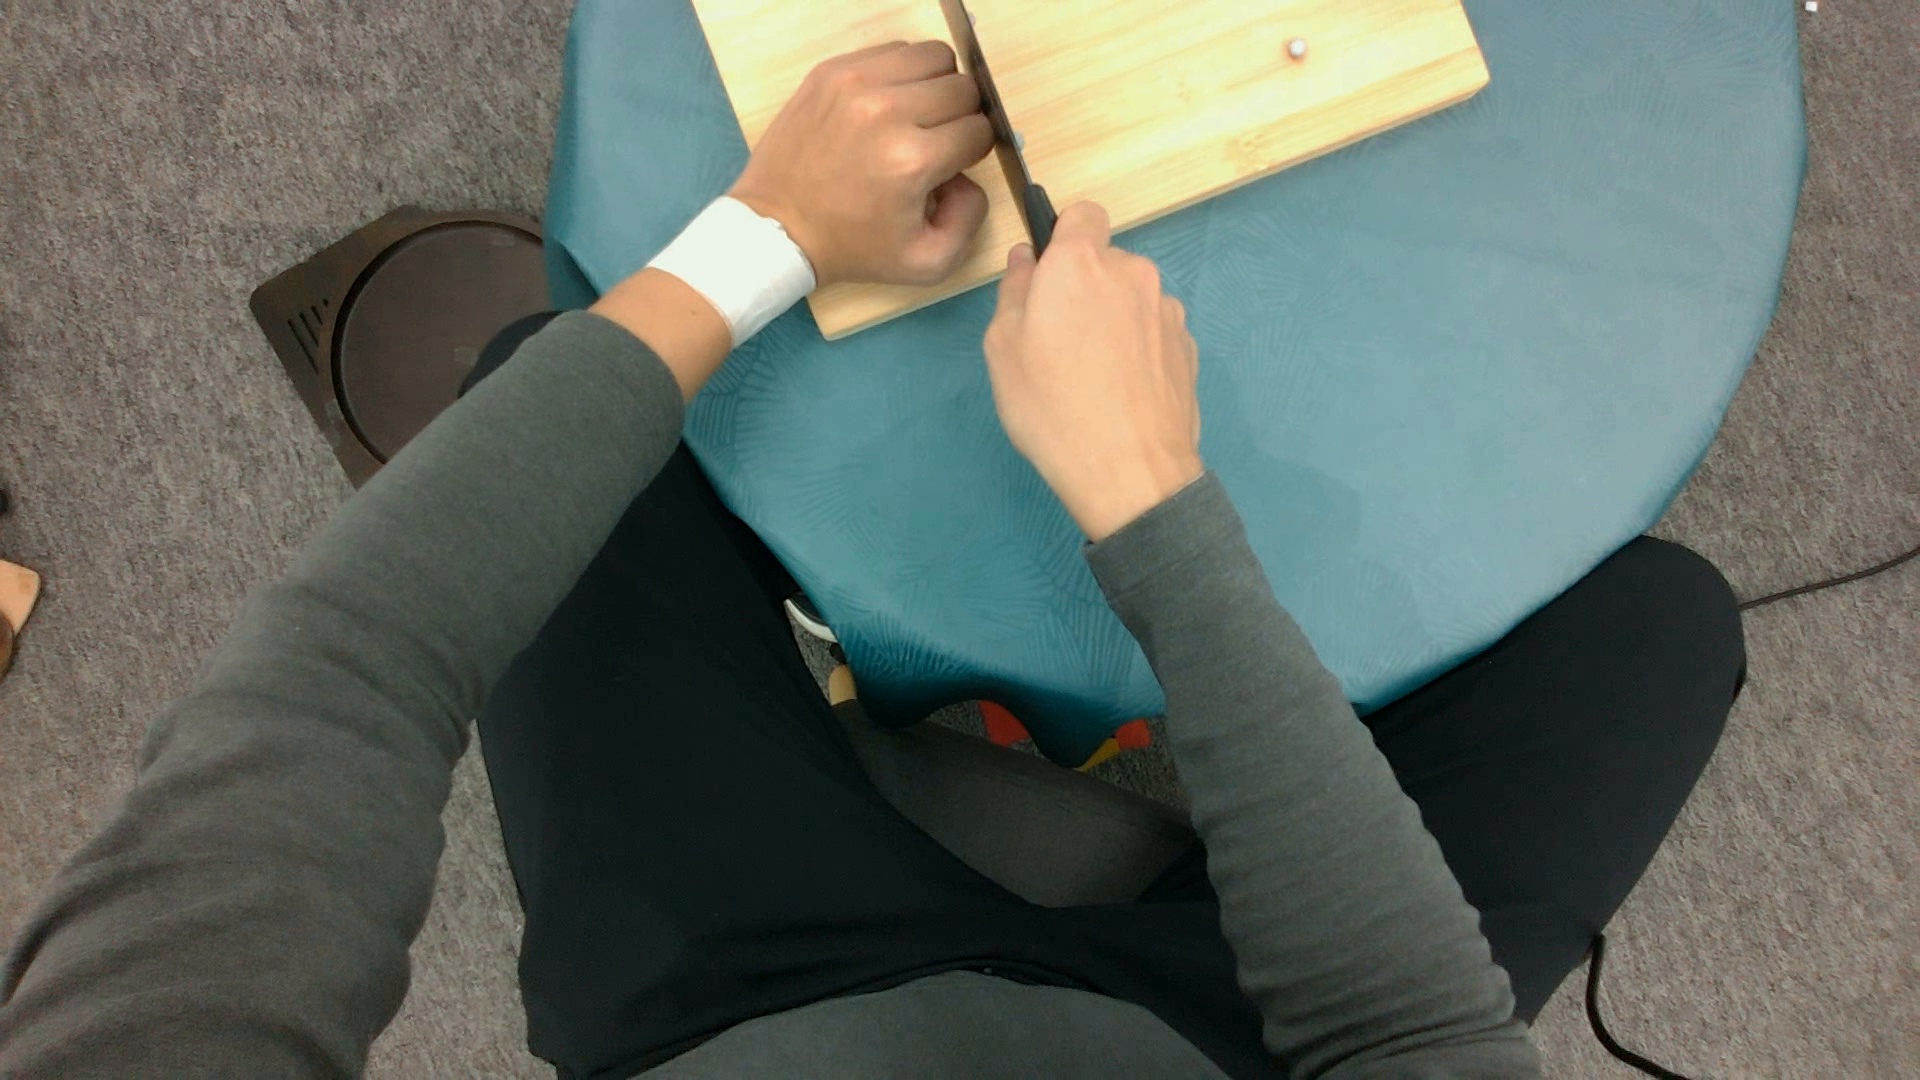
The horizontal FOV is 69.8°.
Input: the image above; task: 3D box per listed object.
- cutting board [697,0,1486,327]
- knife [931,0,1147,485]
[{"bbox_3d":[0.048,-0.274,0.663,0.349,0.023,0.250,-22,89,-3],"label":"cutting board"},{"bbox_3d":[0.016,-0.166,0.581,0.021,0.081,0.302,-21,84,0],"label":"knife"}]
